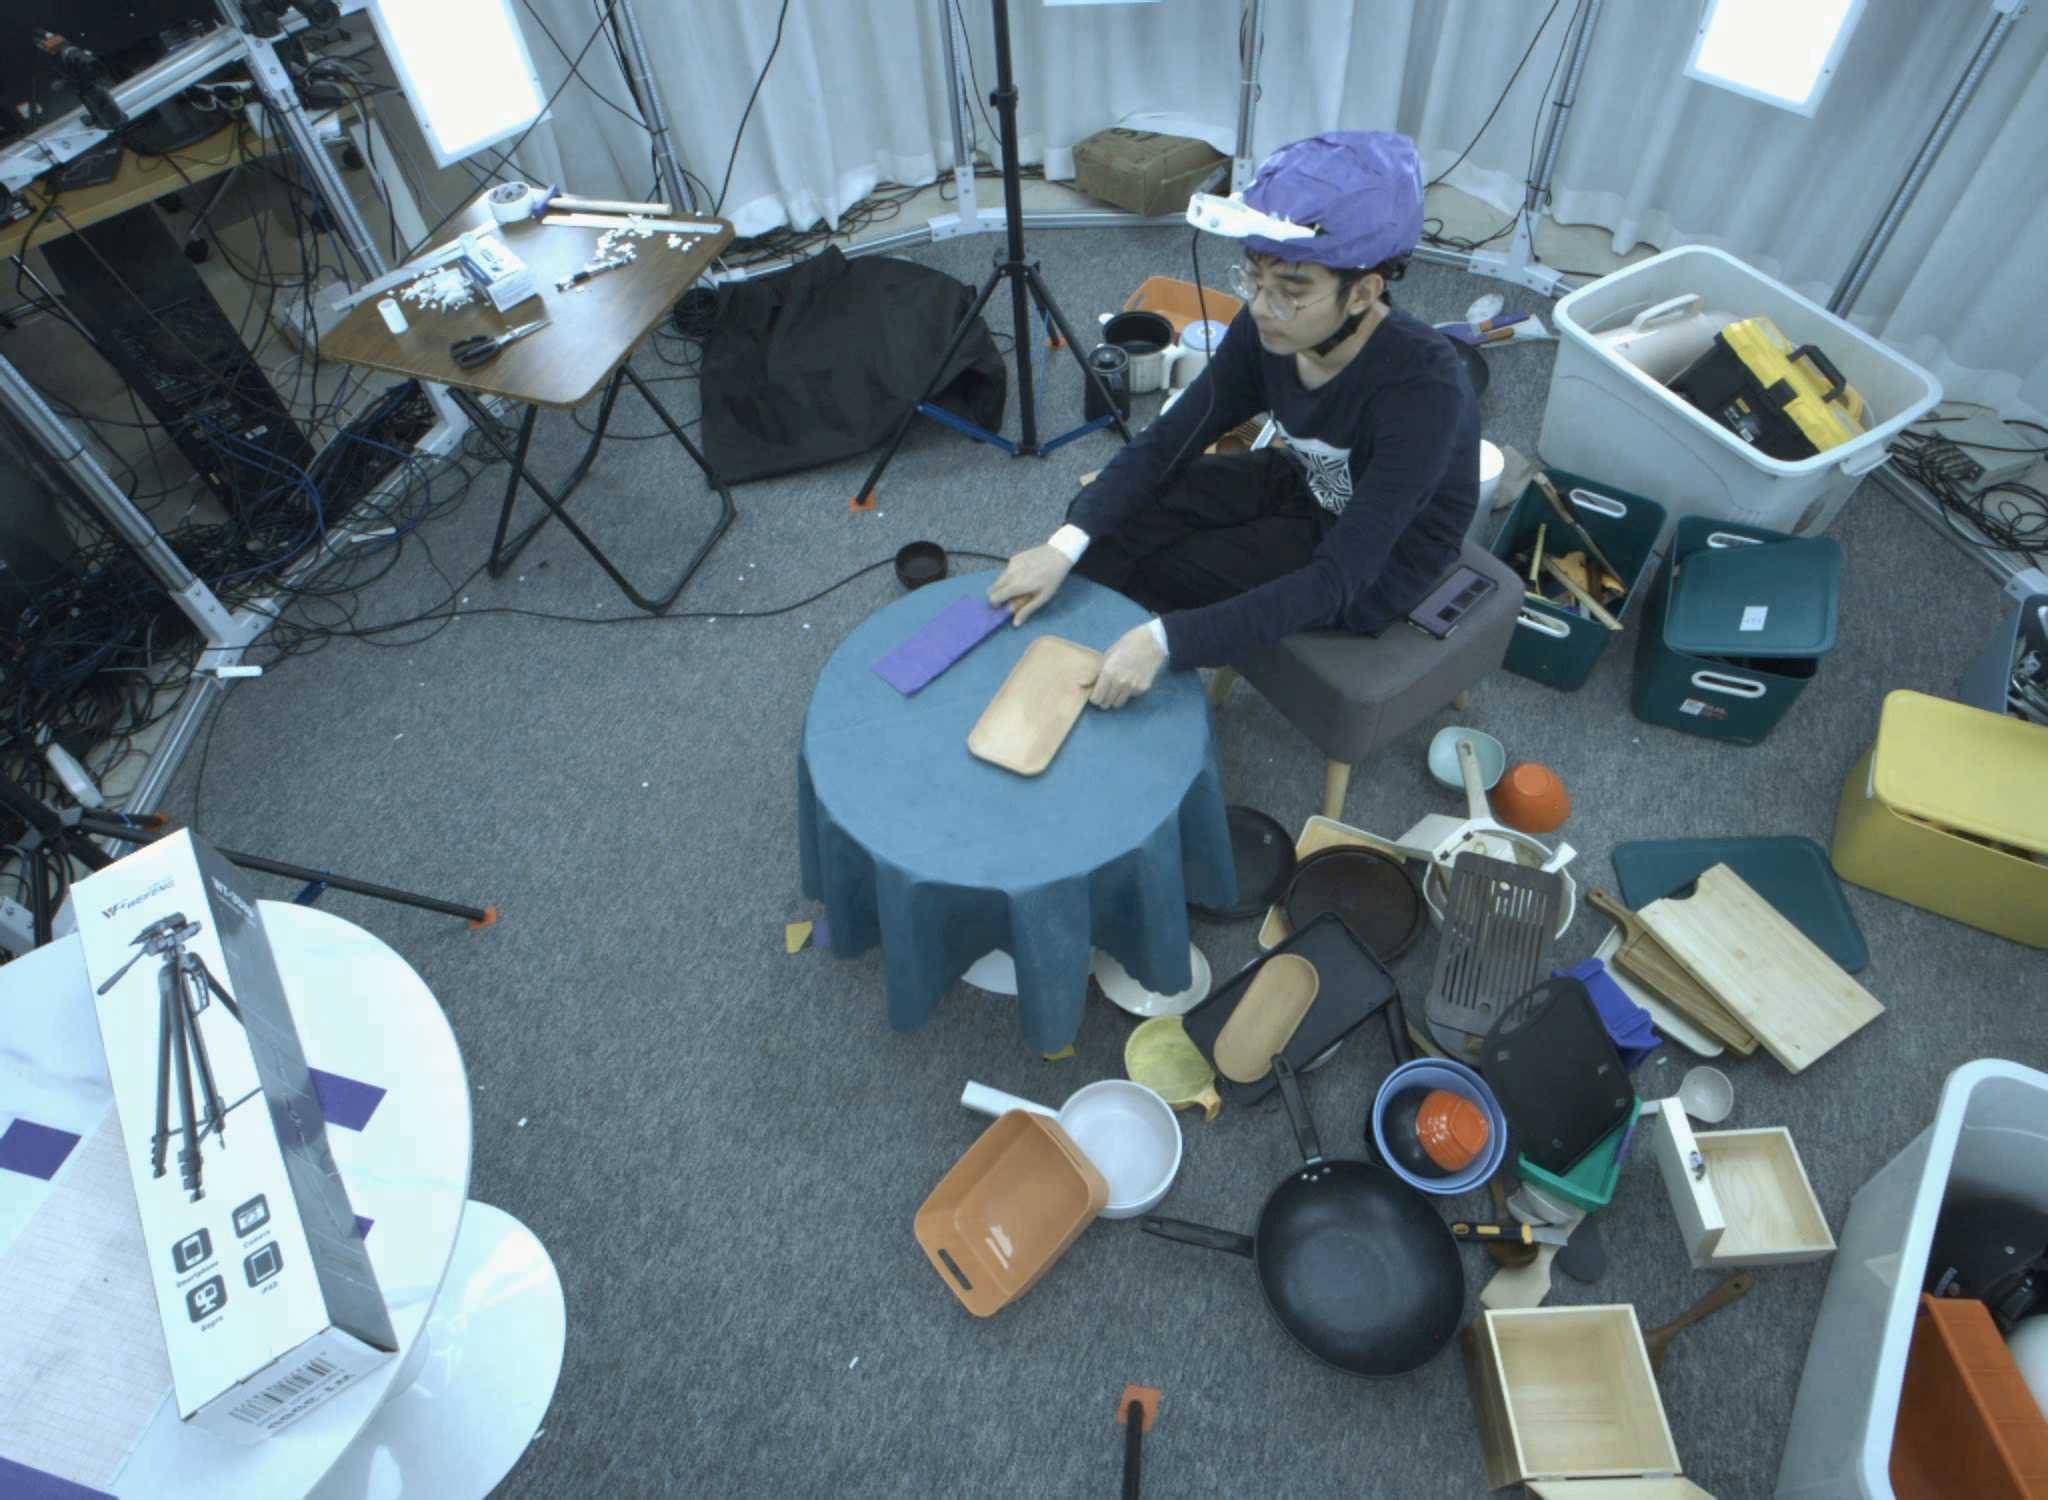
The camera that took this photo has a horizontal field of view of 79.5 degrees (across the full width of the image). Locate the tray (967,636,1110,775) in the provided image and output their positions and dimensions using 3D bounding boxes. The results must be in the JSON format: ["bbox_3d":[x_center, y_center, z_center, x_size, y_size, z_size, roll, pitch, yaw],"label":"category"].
[{"bbox_3d":[0.024,-0.069,1.834,0.129,0.023,0.251,26,58,16],"label":"tray"}]

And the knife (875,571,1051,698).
[{"bbox_3d":[-0.097,-0.199,1.923,0.102,0.032,0.317,38,64,26],"label":"knife"}]
